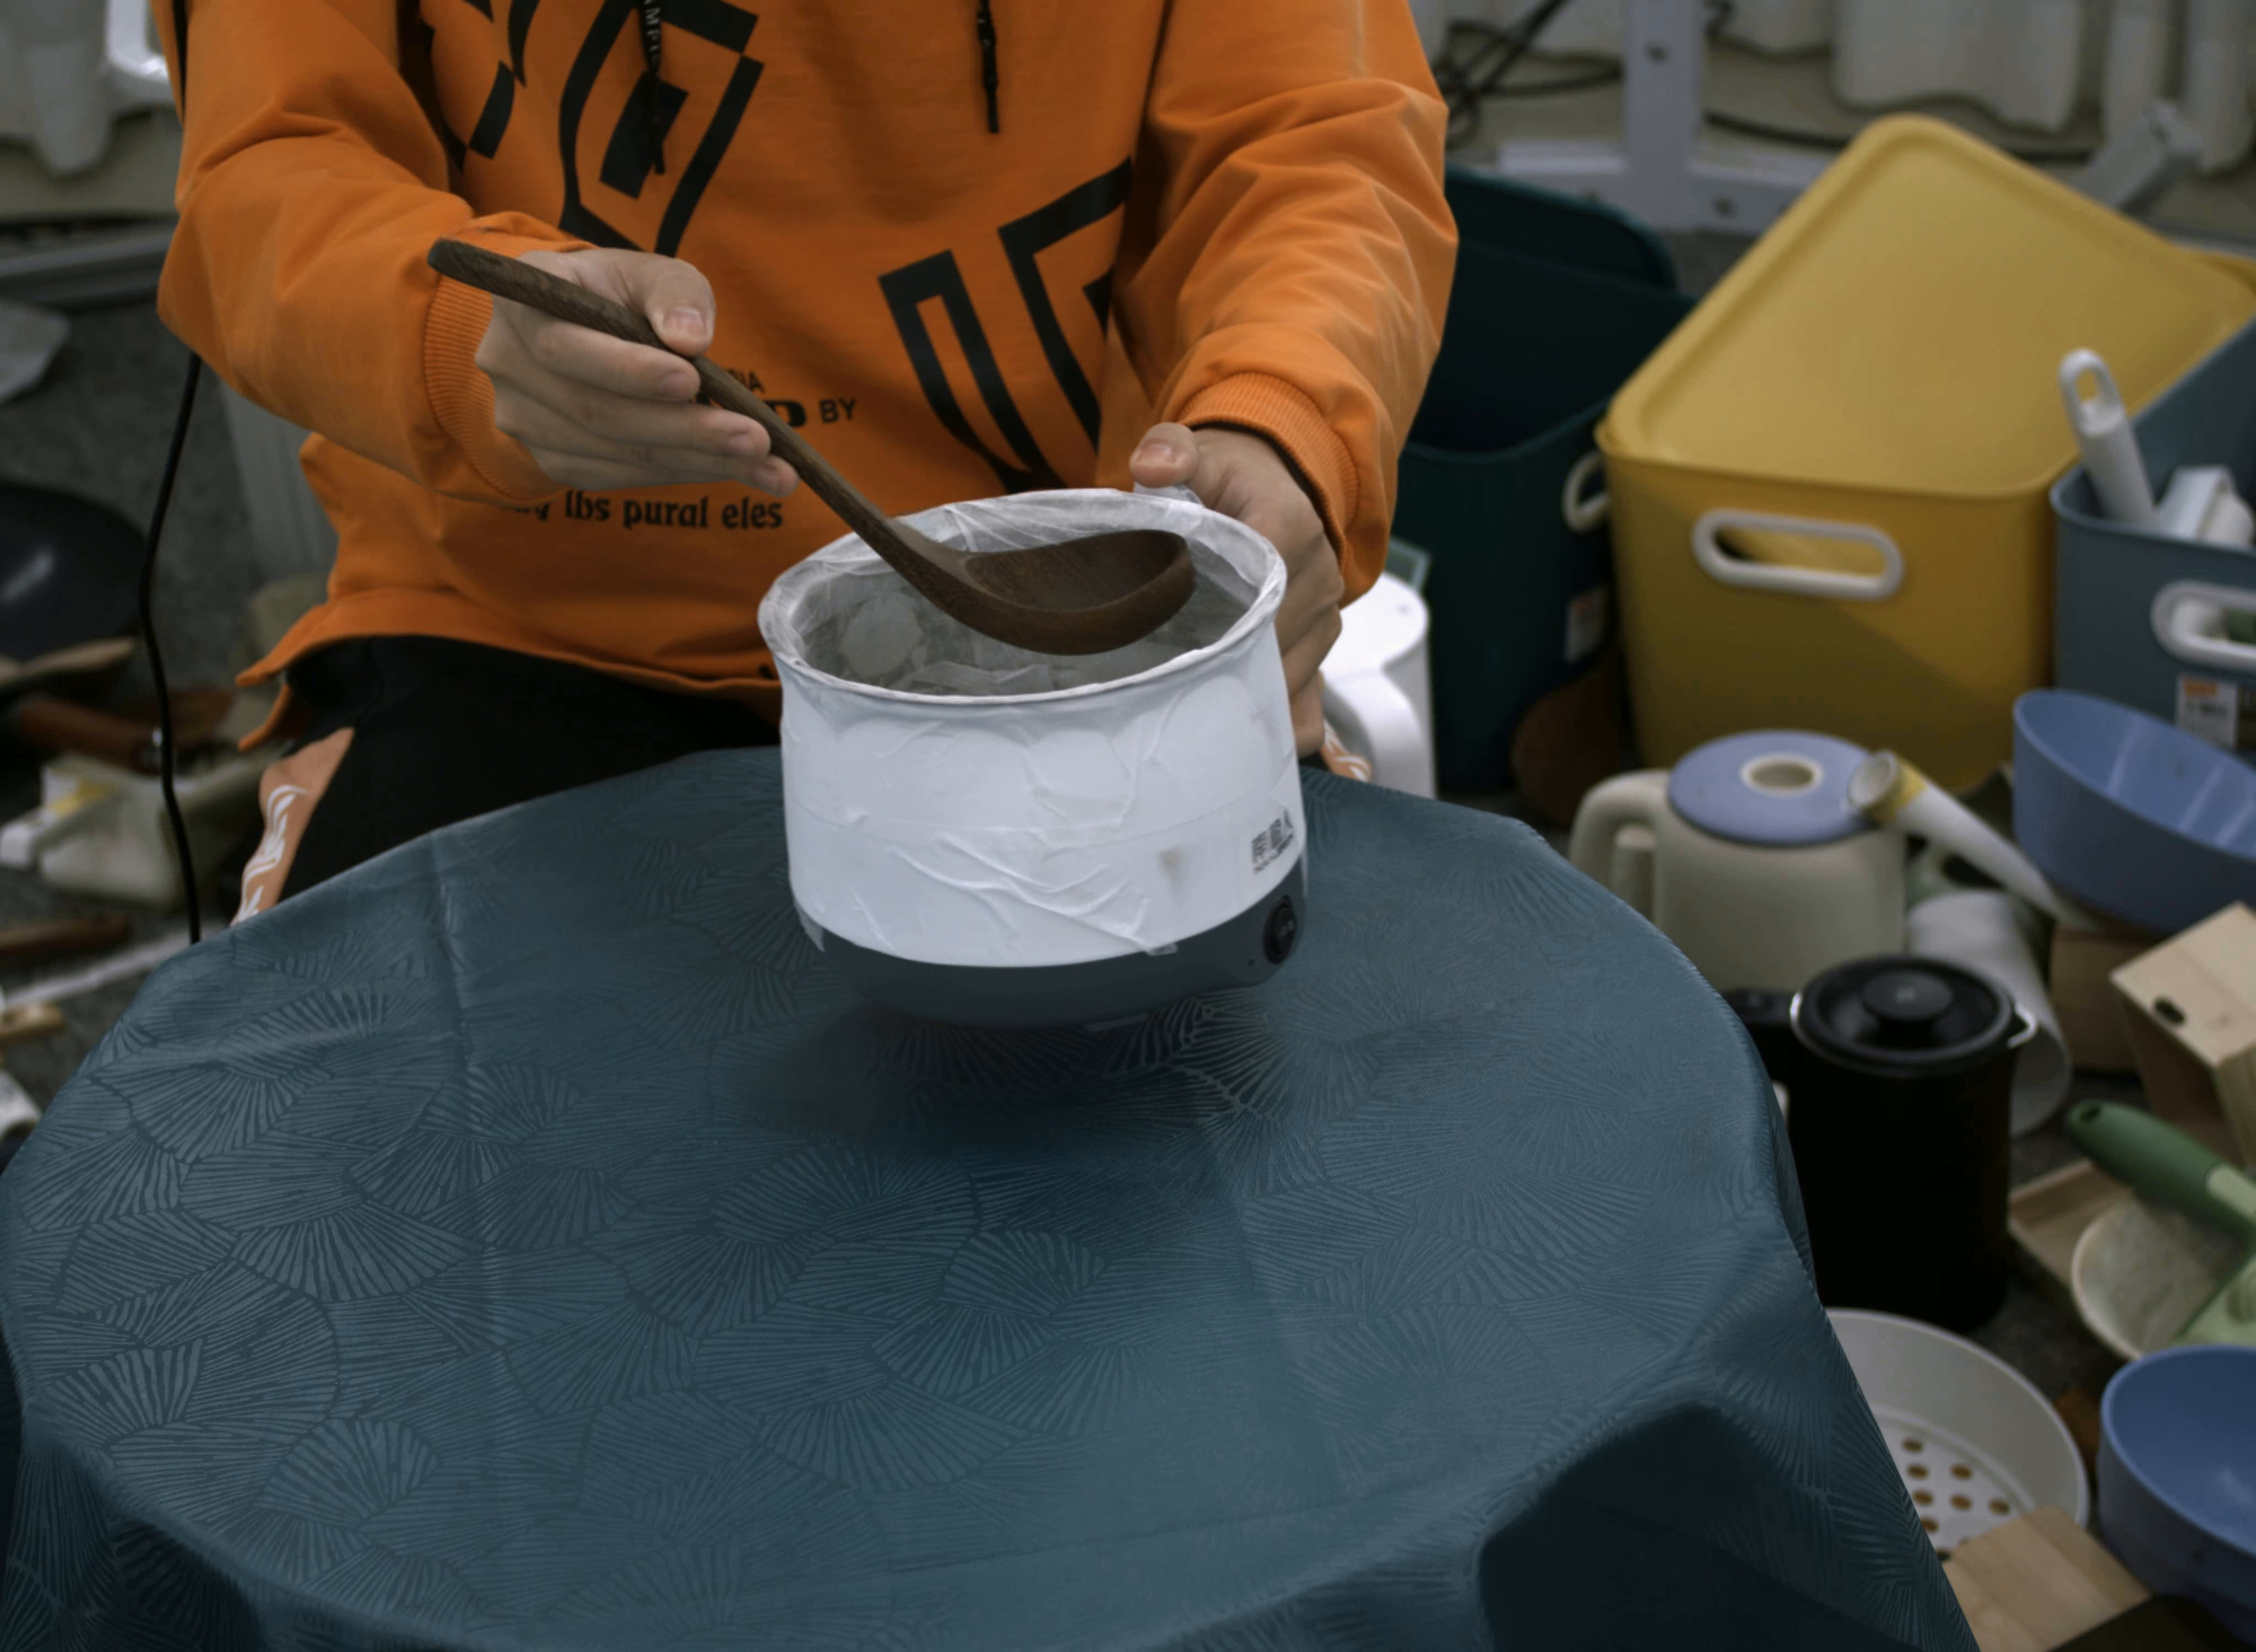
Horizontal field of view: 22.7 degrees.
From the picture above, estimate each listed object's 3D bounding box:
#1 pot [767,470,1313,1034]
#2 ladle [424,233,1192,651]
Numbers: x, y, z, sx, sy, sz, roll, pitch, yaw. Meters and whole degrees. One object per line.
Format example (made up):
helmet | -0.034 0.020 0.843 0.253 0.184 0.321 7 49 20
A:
pot | -0.016 -0.032 1.923 0.177 0.135 0.237 7 27 24
ladle | -0.101 -0.141 1.868 0.273 0.071 0.076 35 8 -17
